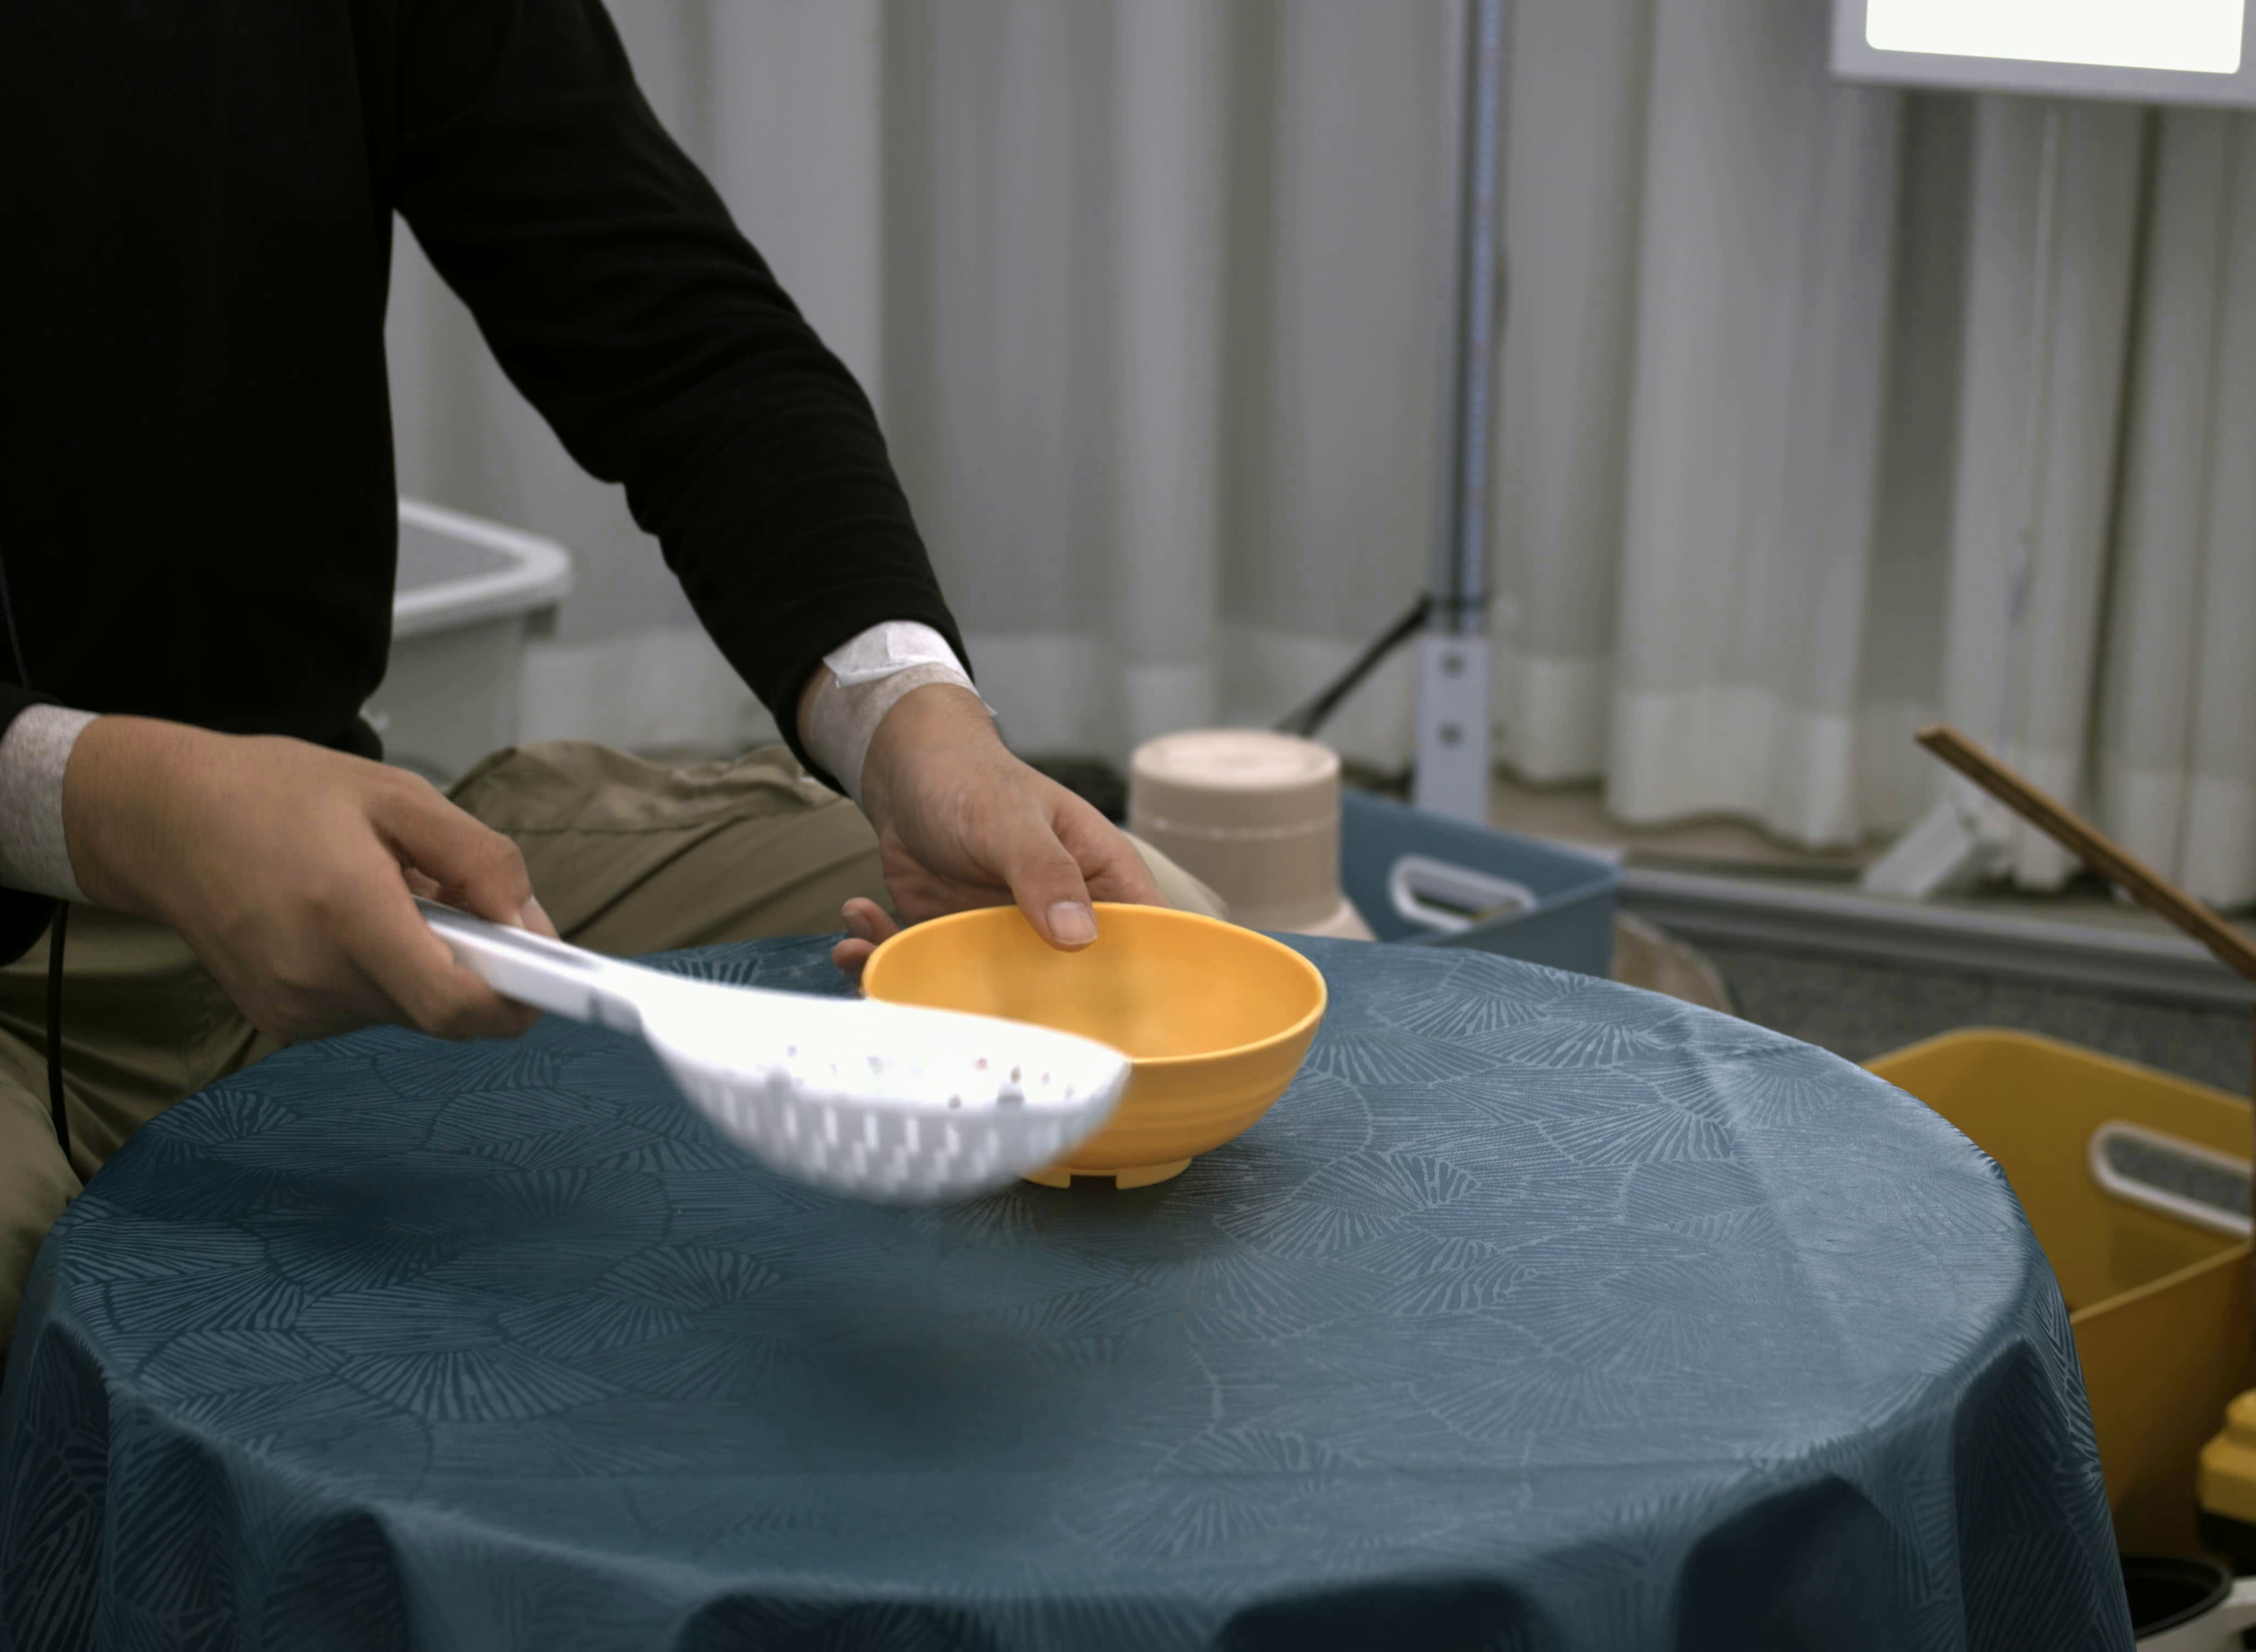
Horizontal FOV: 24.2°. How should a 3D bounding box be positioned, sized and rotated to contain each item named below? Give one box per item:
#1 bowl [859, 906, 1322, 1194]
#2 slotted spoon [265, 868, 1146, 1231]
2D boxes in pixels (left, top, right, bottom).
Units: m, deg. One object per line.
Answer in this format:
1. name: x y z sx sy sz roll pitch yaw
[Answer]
1. bowl: -0.013 0.076 1.642 0.145 0.060 0.144 5 17 -1
2. slotted spoon: -0.138 0.055 1.512 0.137 0.046 0.345 -7 21 -45
